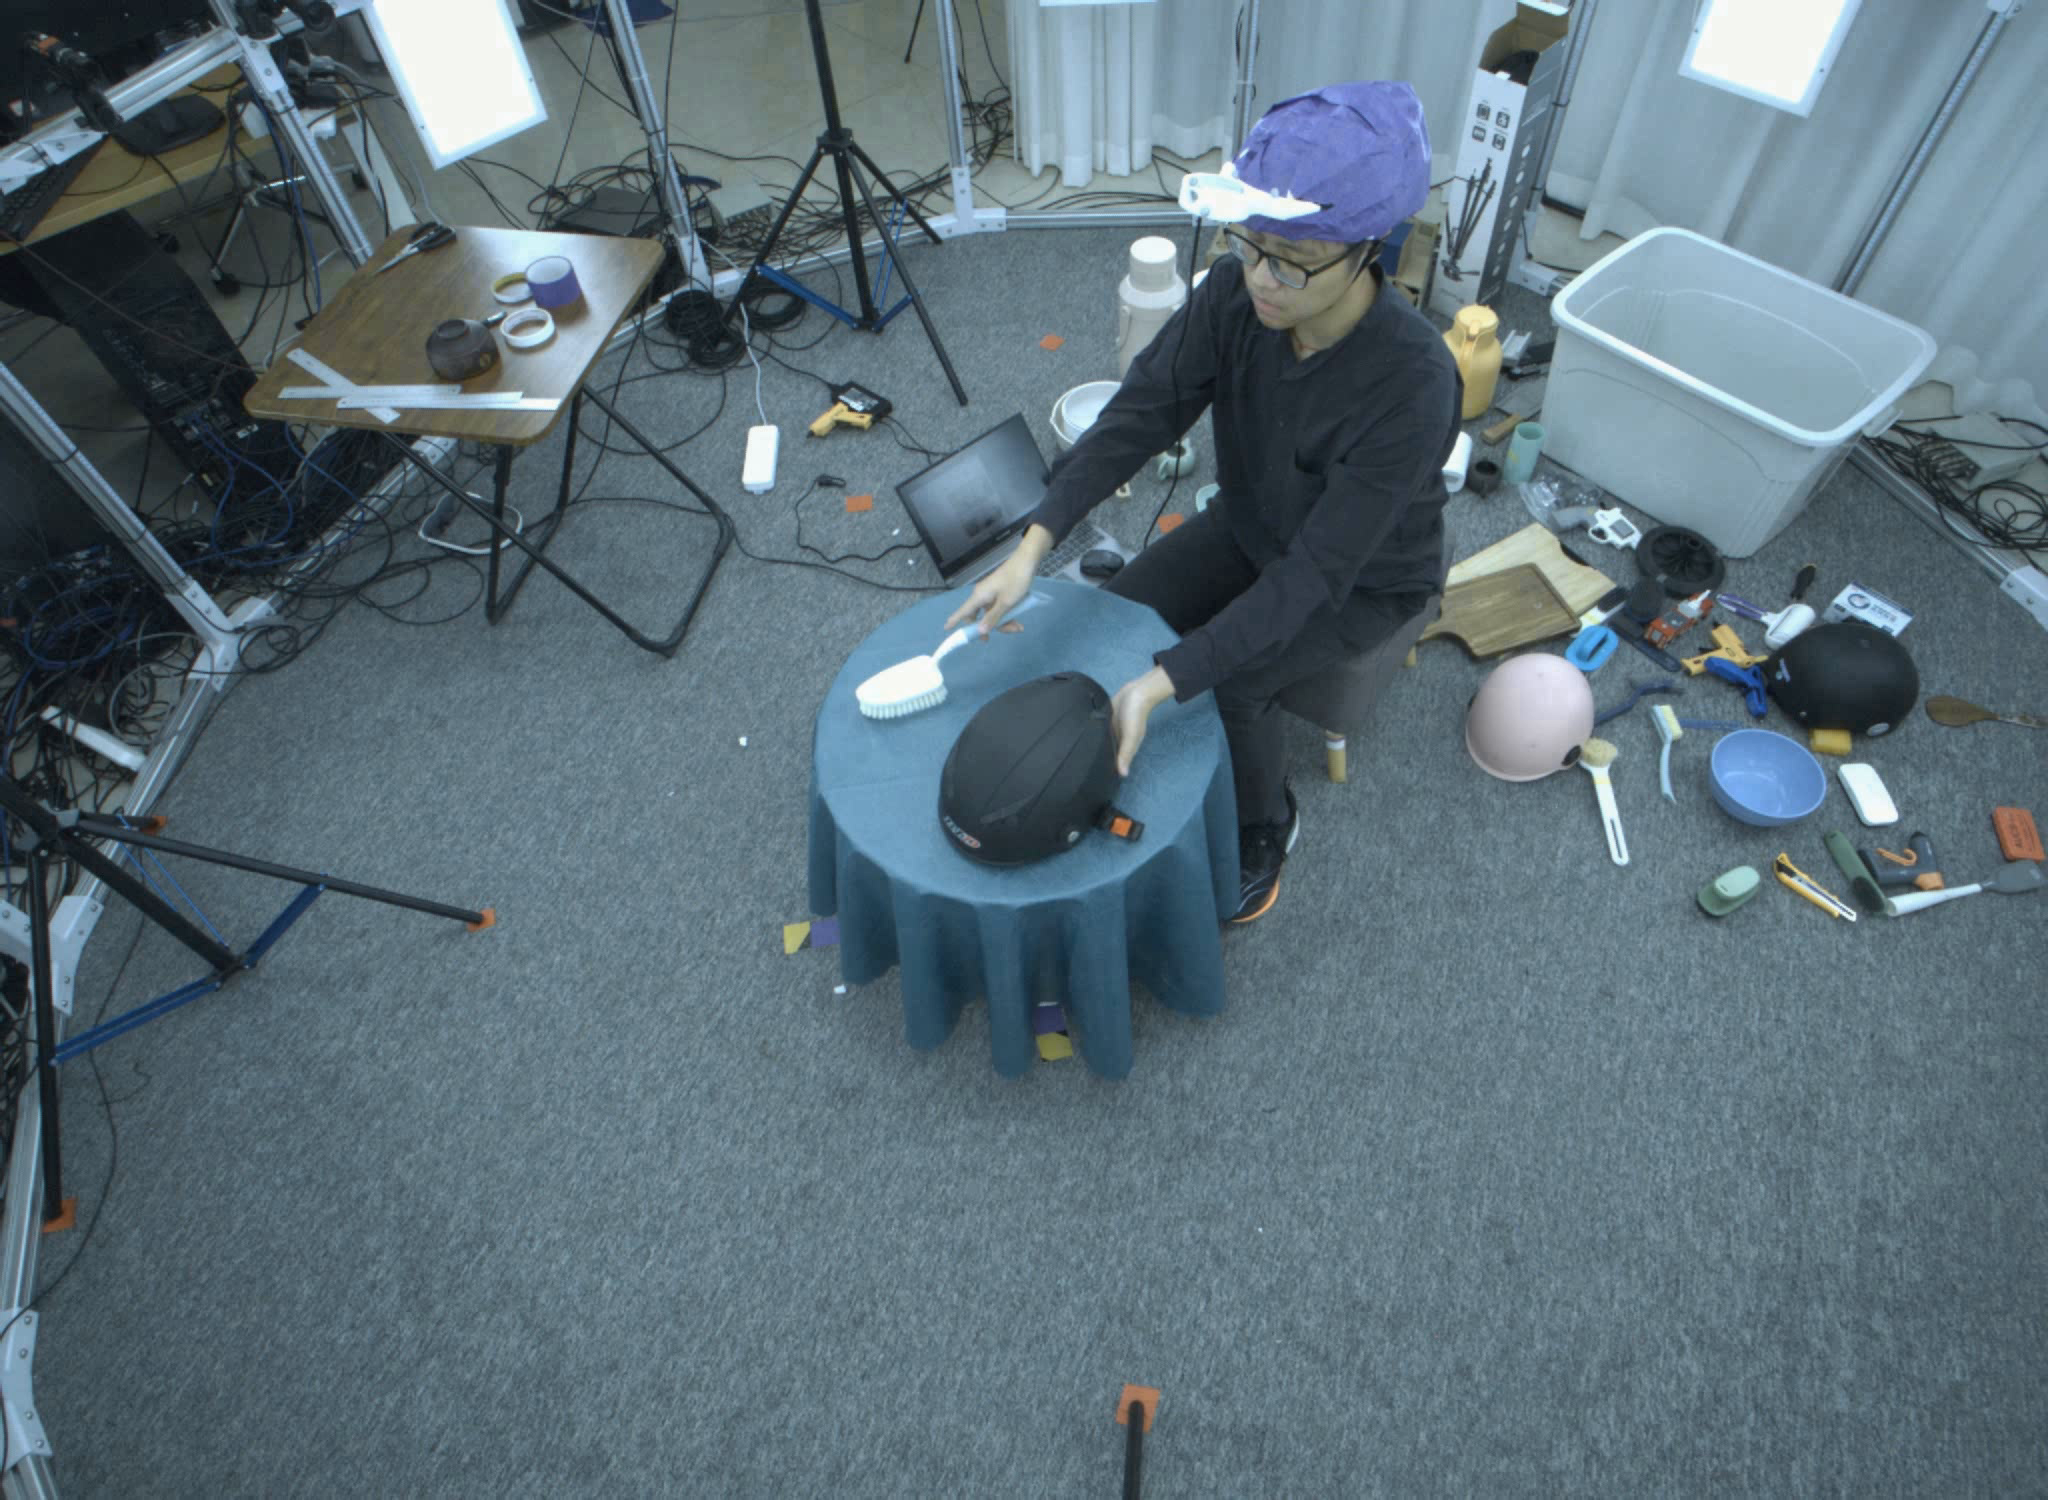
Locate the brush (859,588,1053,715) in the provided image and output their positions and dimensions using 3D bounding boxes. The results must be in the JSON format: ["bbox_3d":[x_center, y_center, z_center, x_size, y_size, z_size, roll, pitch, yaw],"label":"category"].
[{"bbox_3d":[-0.093,-0.137,1.835,0.326,0.084,0.083,-28,93,-2],"label":"brush"}]

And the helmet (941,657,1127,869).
[{"bbox_3d":[0.008,0.011,1.675,0.278,0.175,0.242,-42,62,-17],"label":"helmet"}]
